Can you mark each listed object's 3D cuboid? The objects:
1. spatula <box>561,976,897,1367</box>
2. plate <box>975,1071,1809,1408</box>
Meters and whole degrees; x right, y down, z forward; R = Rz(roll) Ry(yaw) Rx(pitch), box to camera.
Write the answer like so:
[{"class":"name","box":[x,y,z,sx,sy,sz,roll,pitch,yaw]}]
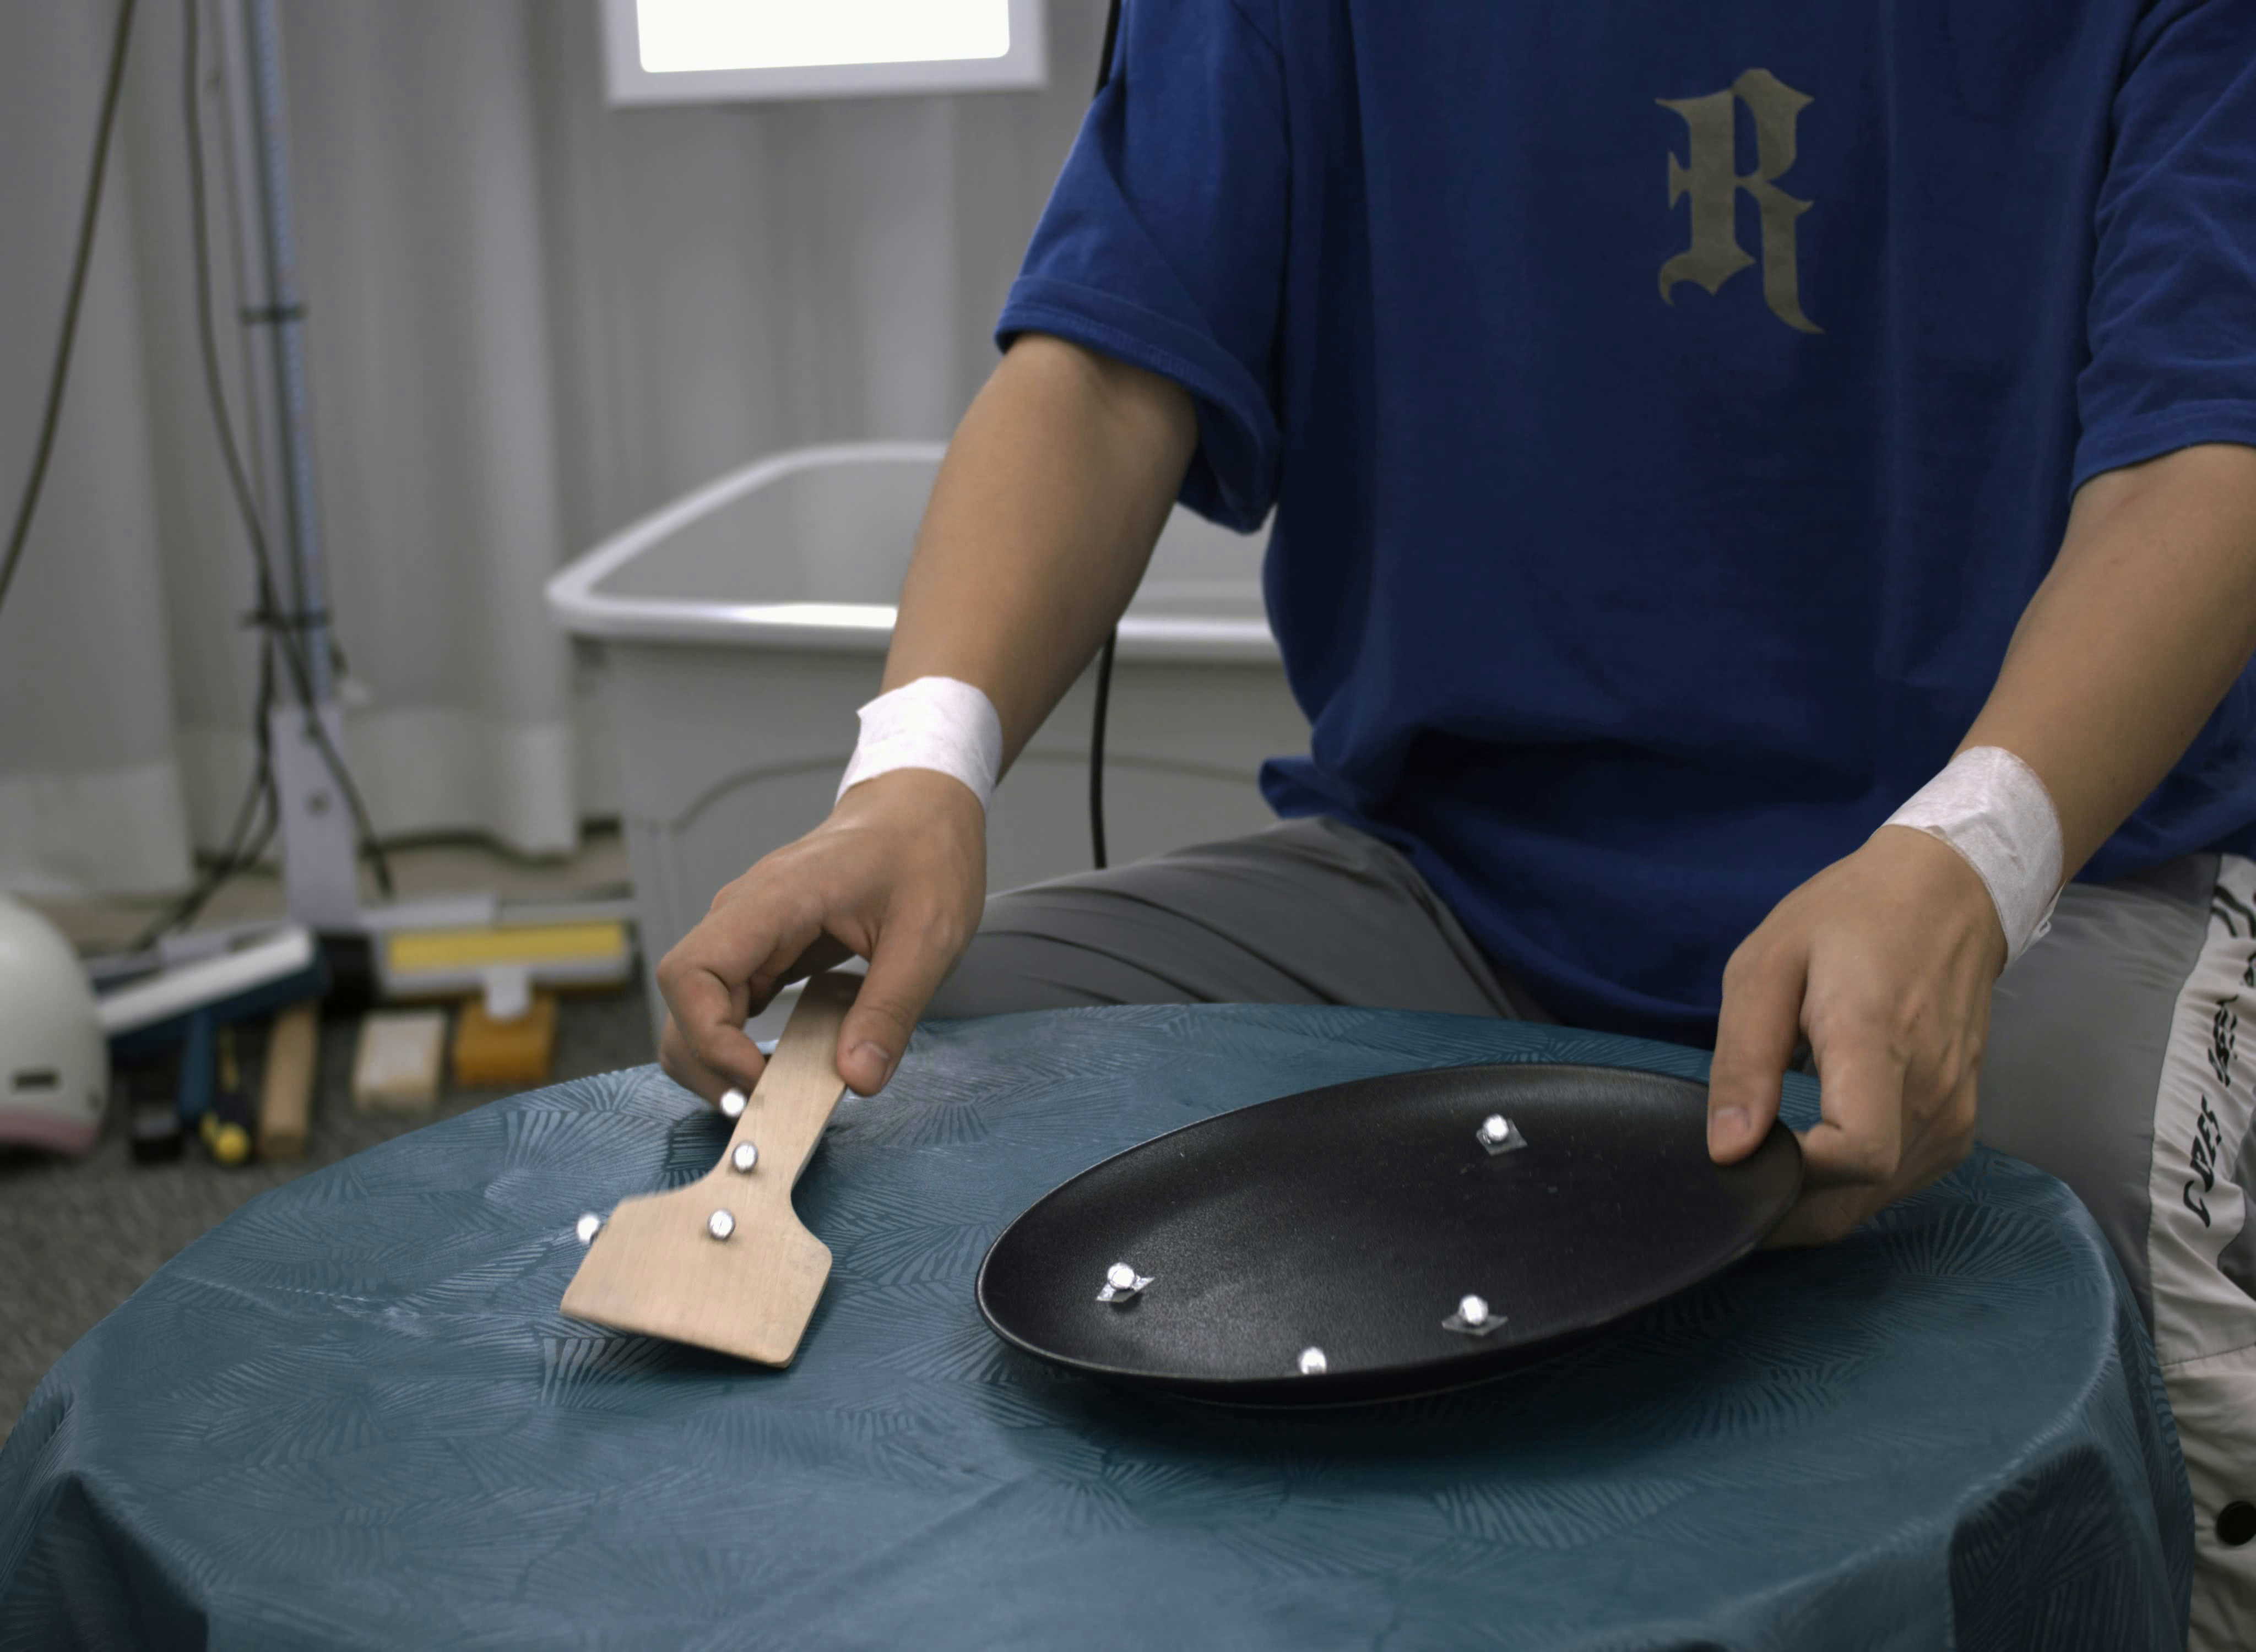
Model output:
[{"class":"spatula","box":[-0.112,0.103,1.709,0.072,0.010,0.295,8,21,5]},{"class":"plate","box":[0.077,0.123,1.582,0.243,0.023,0.246,-9,15,2]}]
